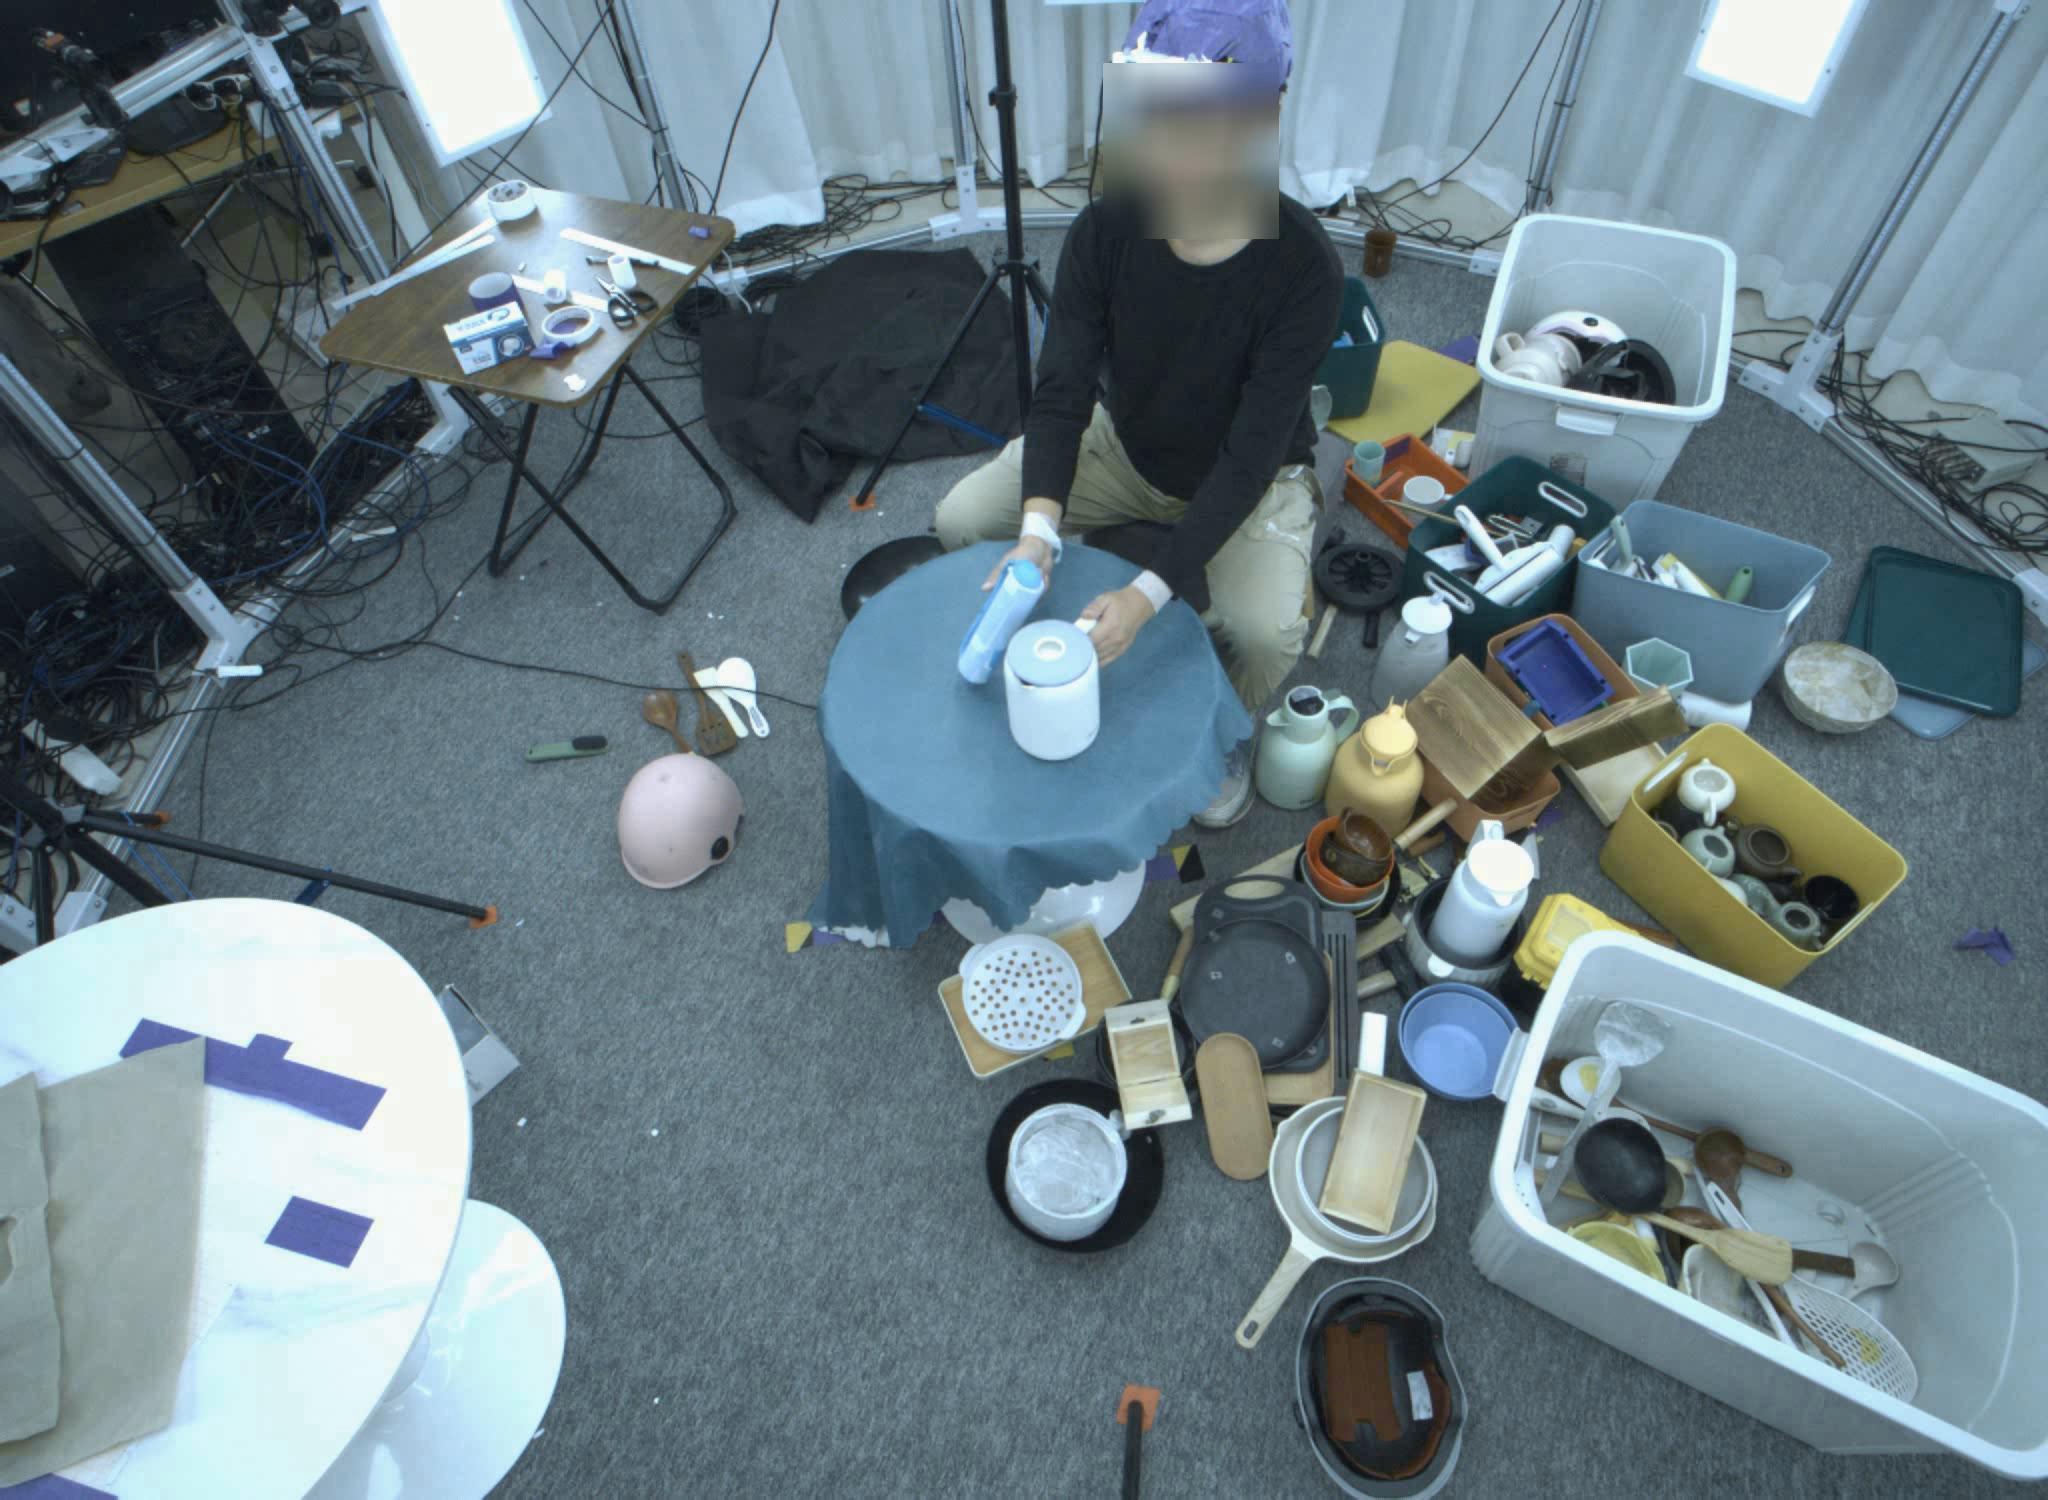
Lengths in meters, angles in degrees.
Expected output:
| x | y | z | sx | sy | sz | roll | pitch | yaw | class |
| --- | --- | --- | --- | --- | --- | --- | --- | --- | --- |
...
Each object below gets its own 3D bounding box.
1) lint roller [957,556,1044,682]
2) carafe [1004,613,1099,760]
| x | y | z | sx | sy | sz | roll | pitch | yaw | class |
| --- | --- | --- | --- | --- | --- | --- | --- | --- | --- |
| -0.025 | -0.219 | 1.813 | 0.068 | 0.228 | 0.179 | 26 | 40 | -7 | lint roller |
| 0.053 | -0.101 | 1.752 | 0.130 | 0.184 | 0.192 | 25 | 58 | 19 | carafe |
